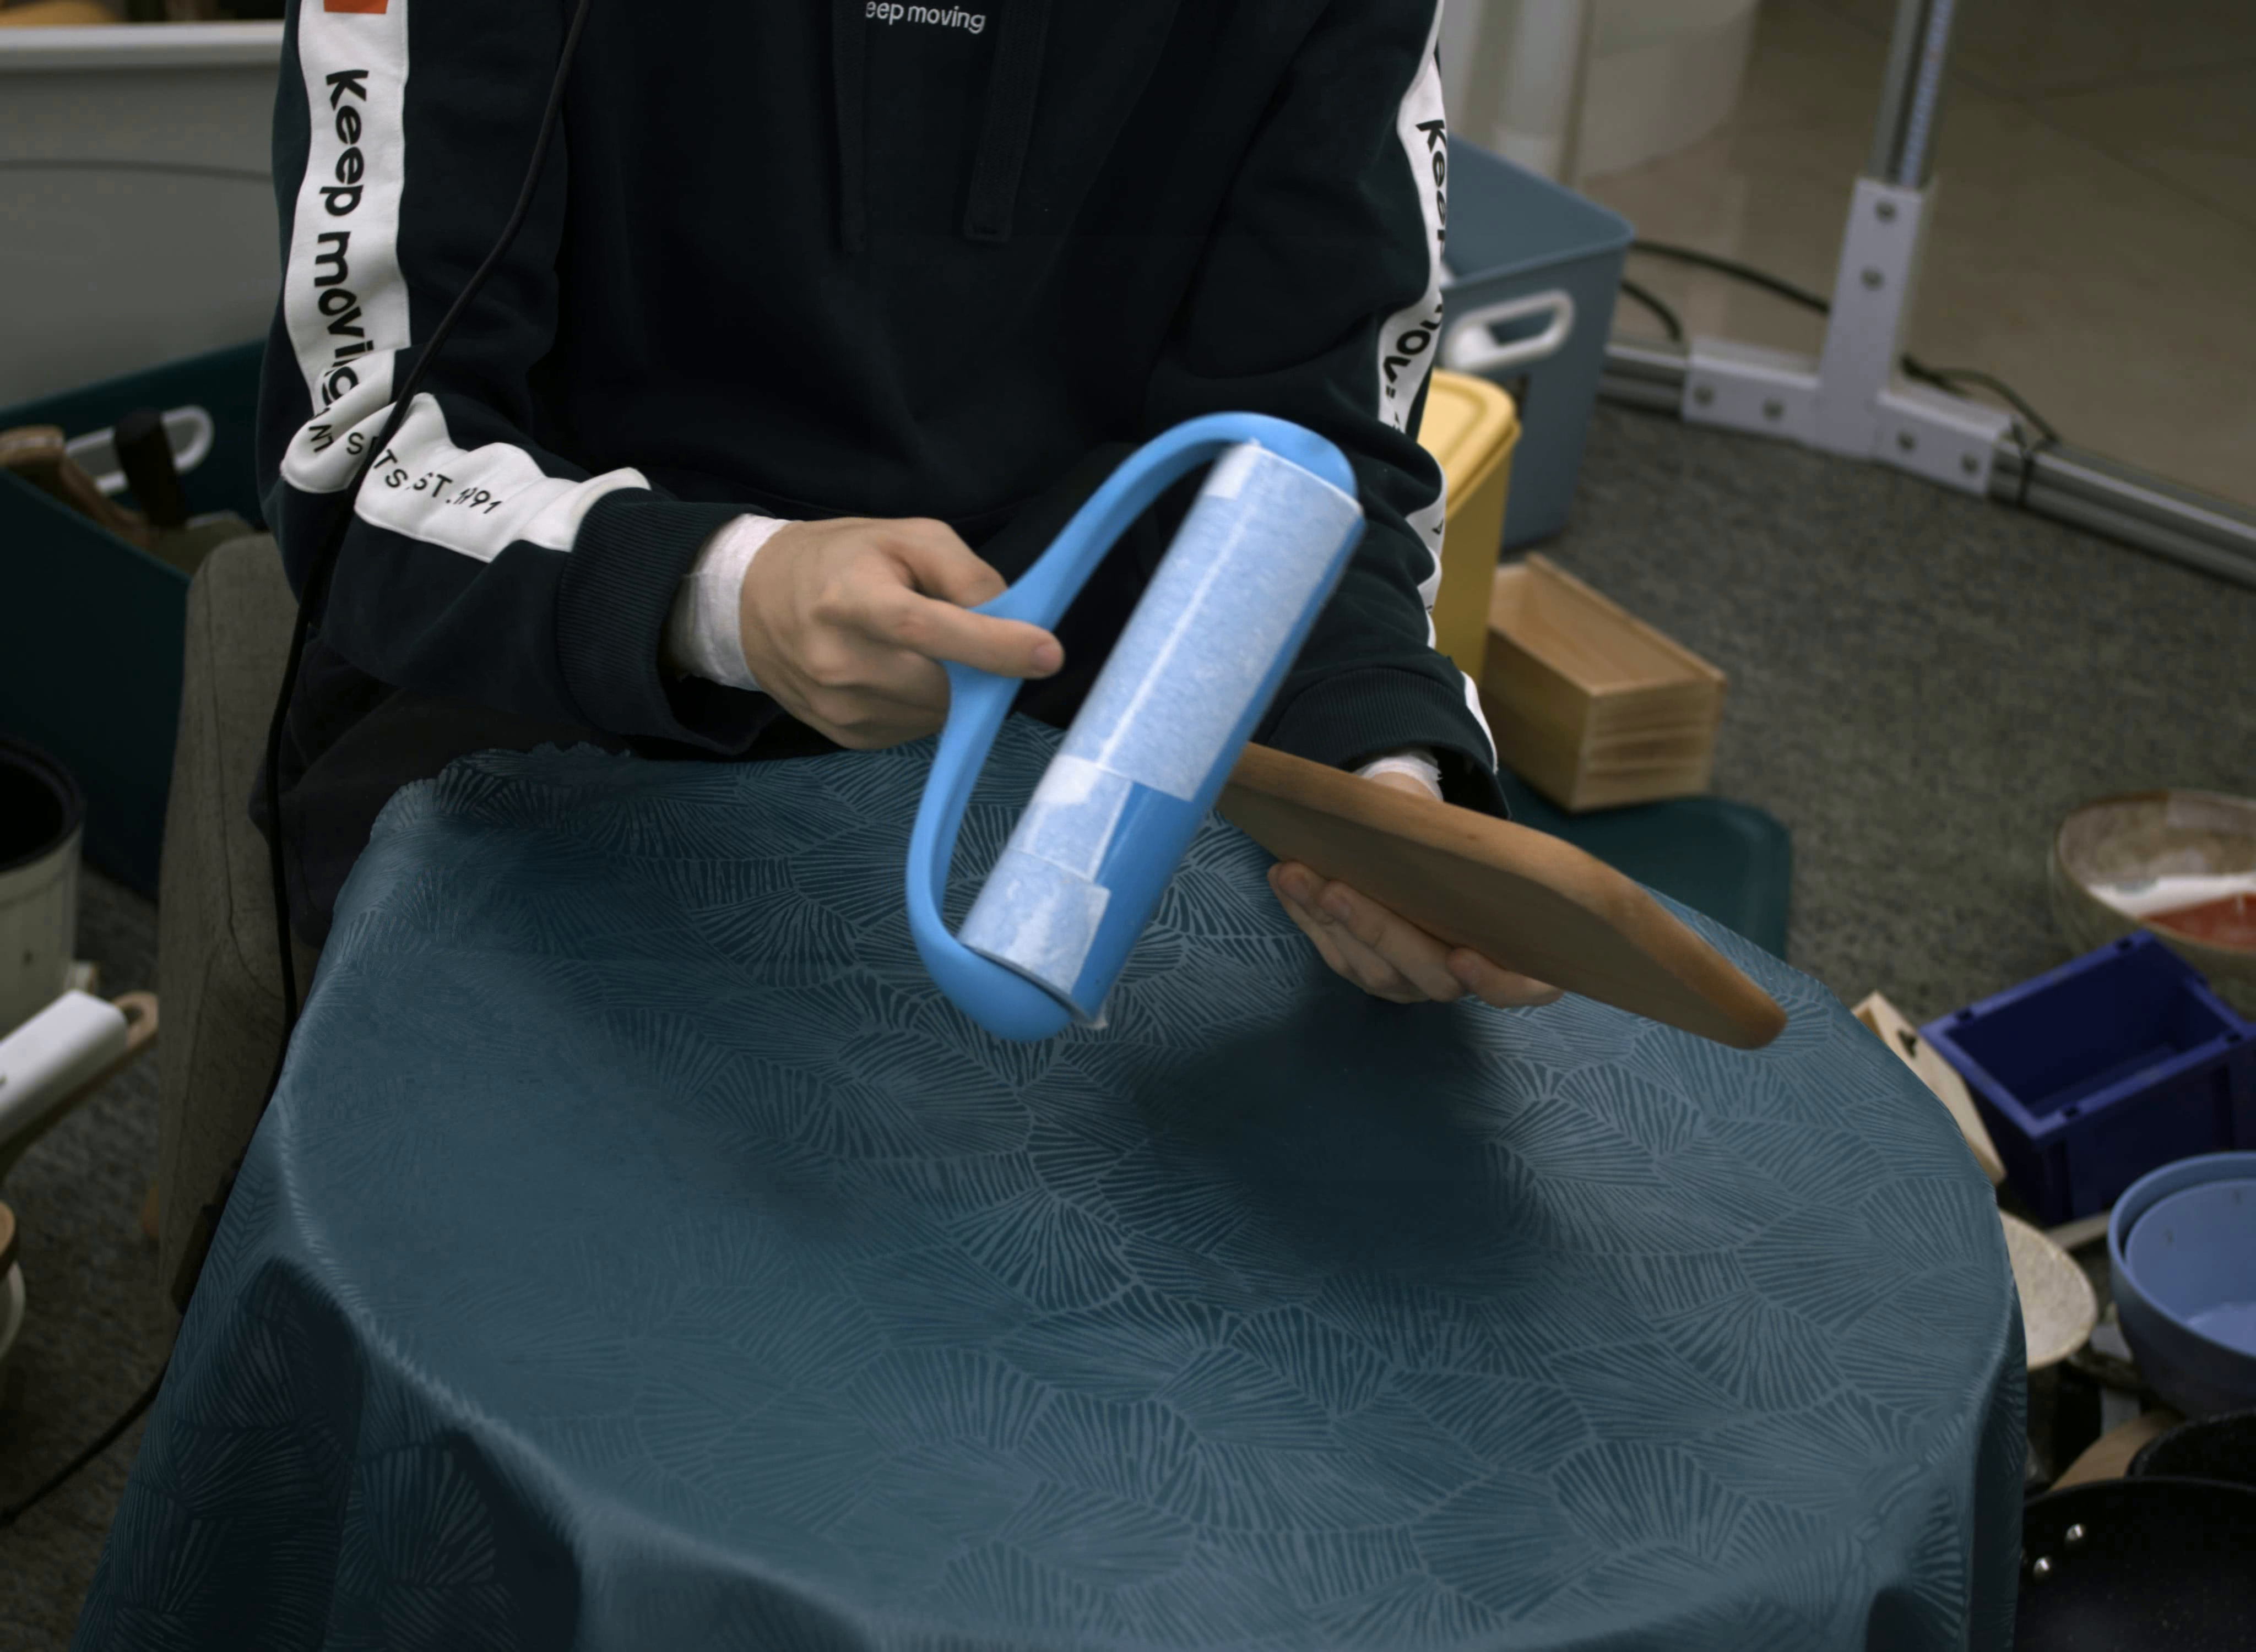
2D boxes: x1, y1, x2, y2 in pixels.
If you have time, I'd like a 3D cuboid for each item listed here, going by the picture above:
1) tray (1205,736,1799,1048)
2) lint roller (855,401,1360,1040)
[{"bbox_3d":[0.115,0.020,1.804,0.129,0.023,0.252,41,-14,-32],"label":"tray"},{"bbox_3d":[-0.036,-0.048,1.783,0.181,0.229,0.067,16,-15,37],"label":"lint roller"}]
